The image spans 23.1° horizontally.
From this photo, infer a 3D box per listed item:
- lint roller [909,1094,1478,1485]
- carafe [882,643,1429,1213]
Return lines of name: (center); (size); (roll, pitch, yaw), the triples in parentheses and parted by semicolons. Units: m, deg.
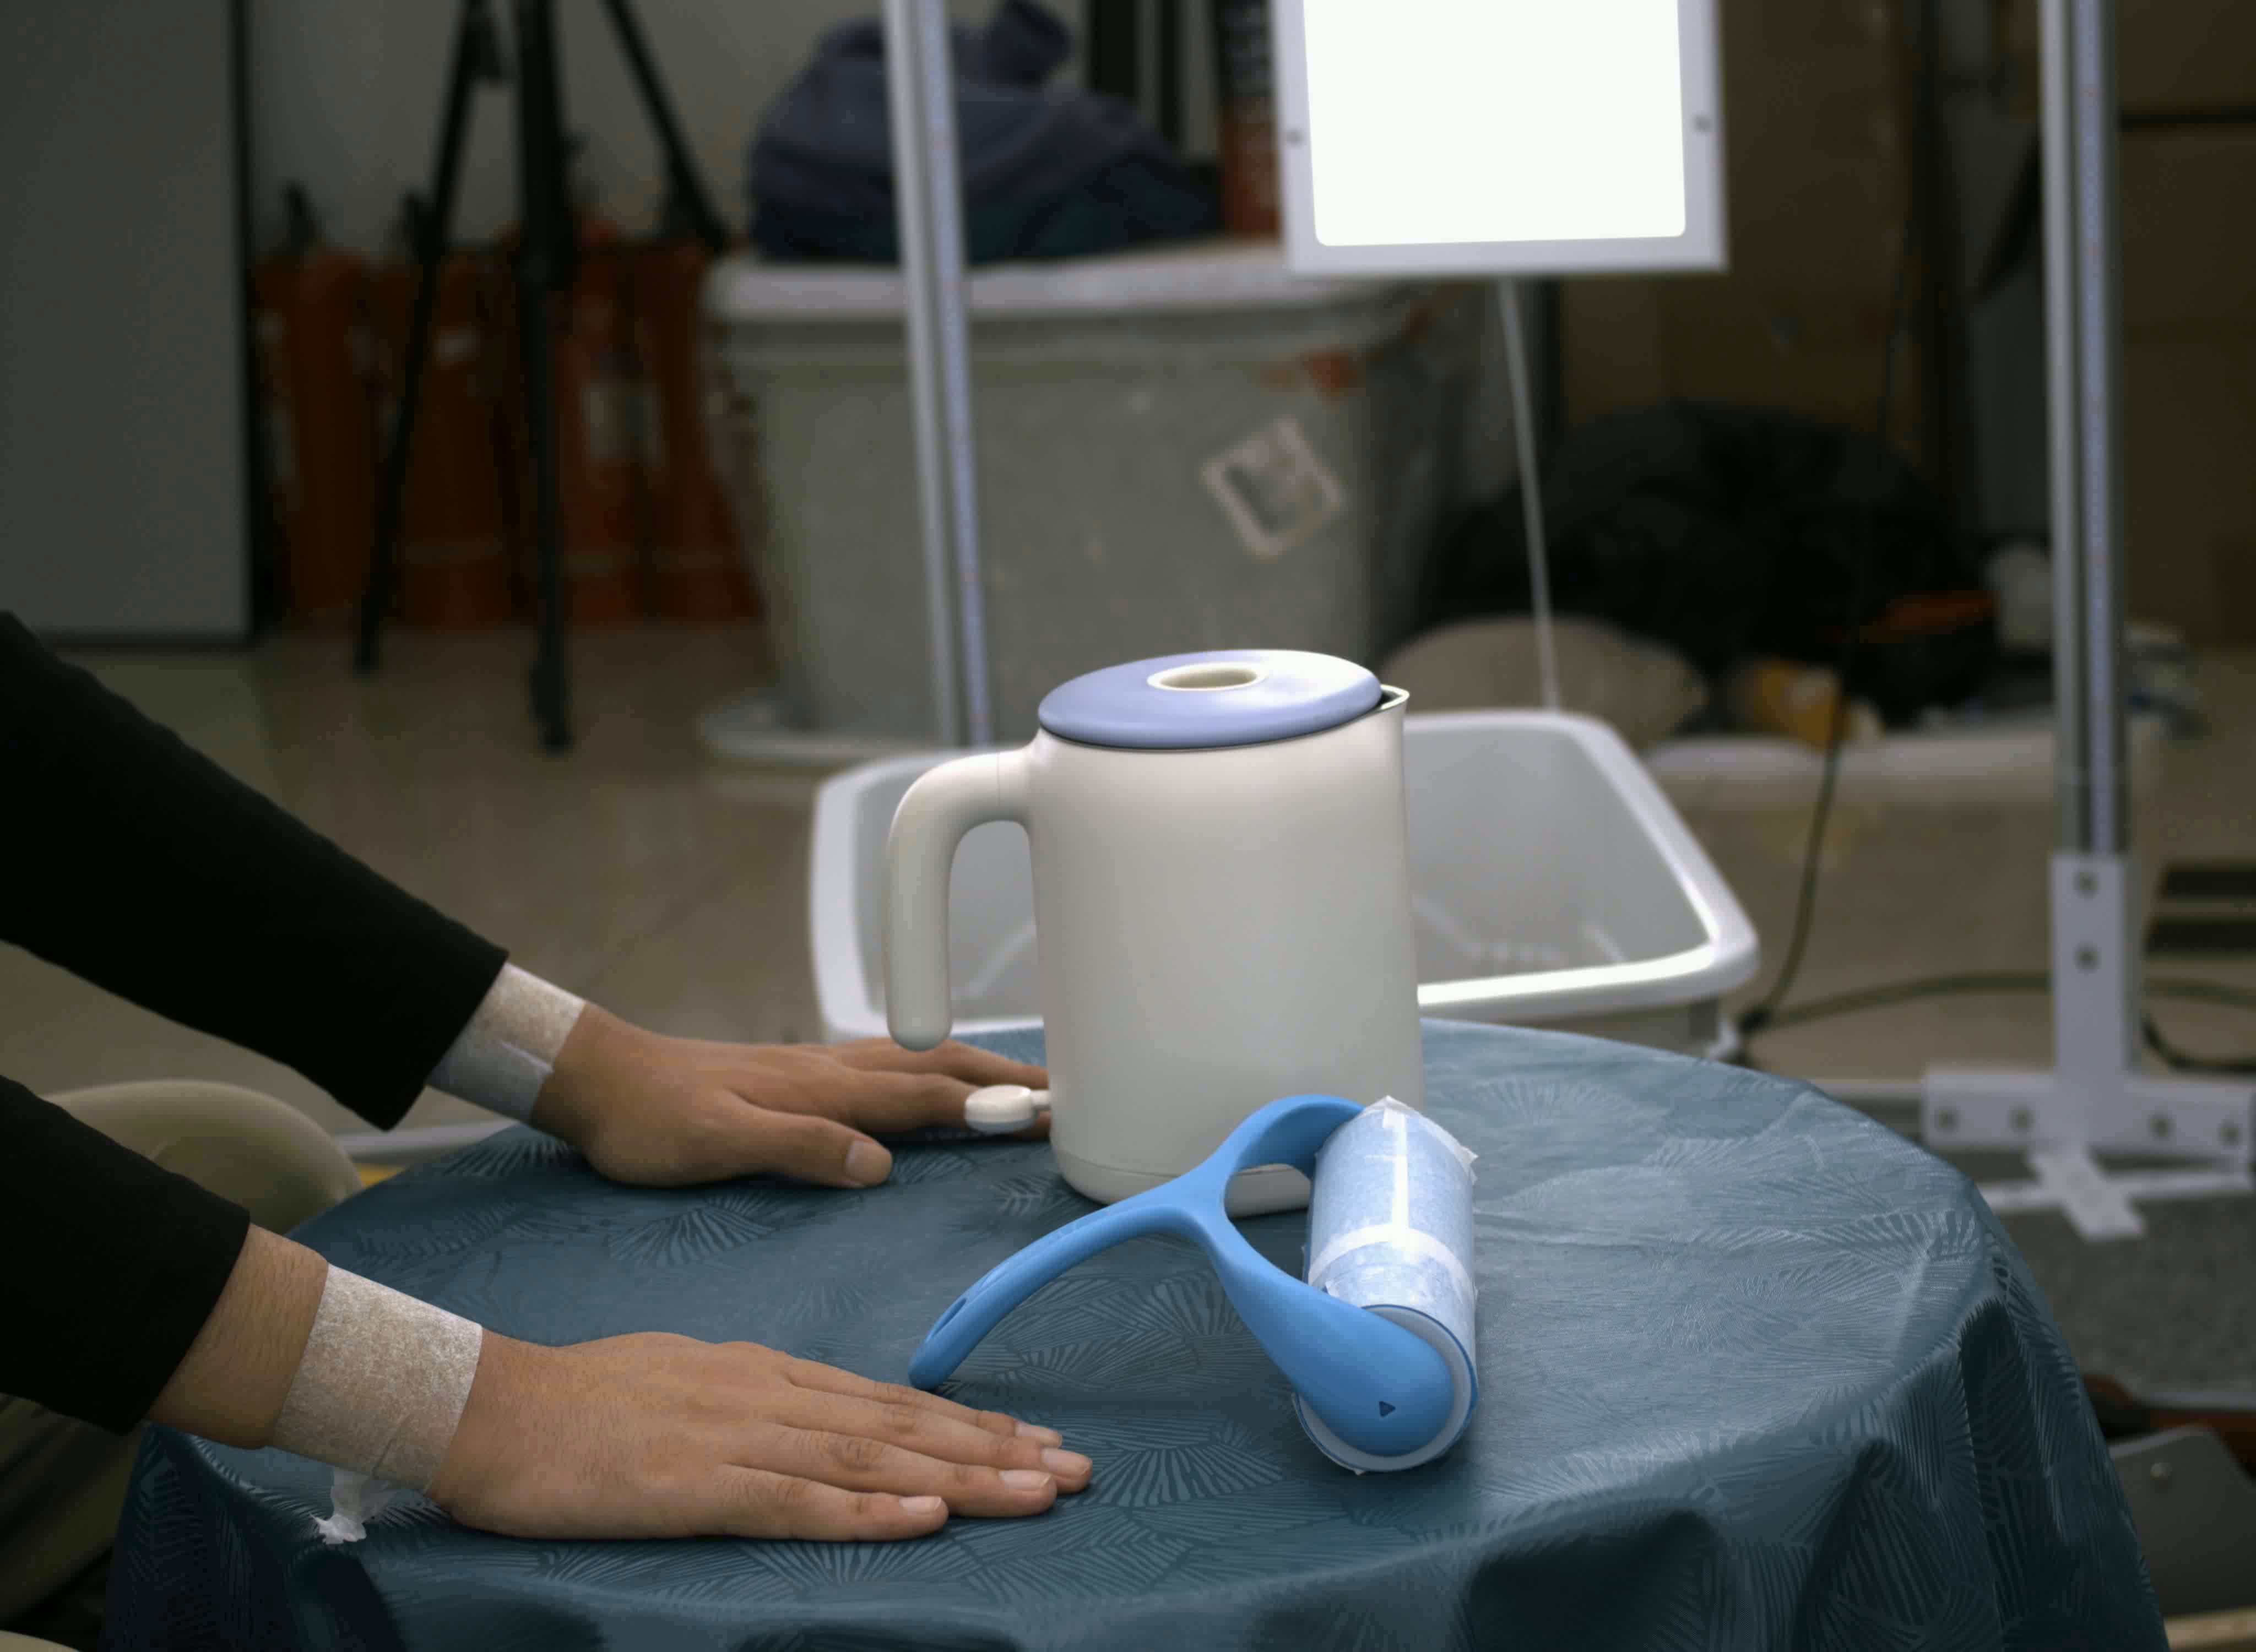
lint roller: (0.021, 0.142, 1.703); (0.180, 0.068, 0.228); (0, 17, 2)
carafe: (0.009, 0.037, 1.896); (0.191, 0.183, 0.132); (-6, 13, 3)
